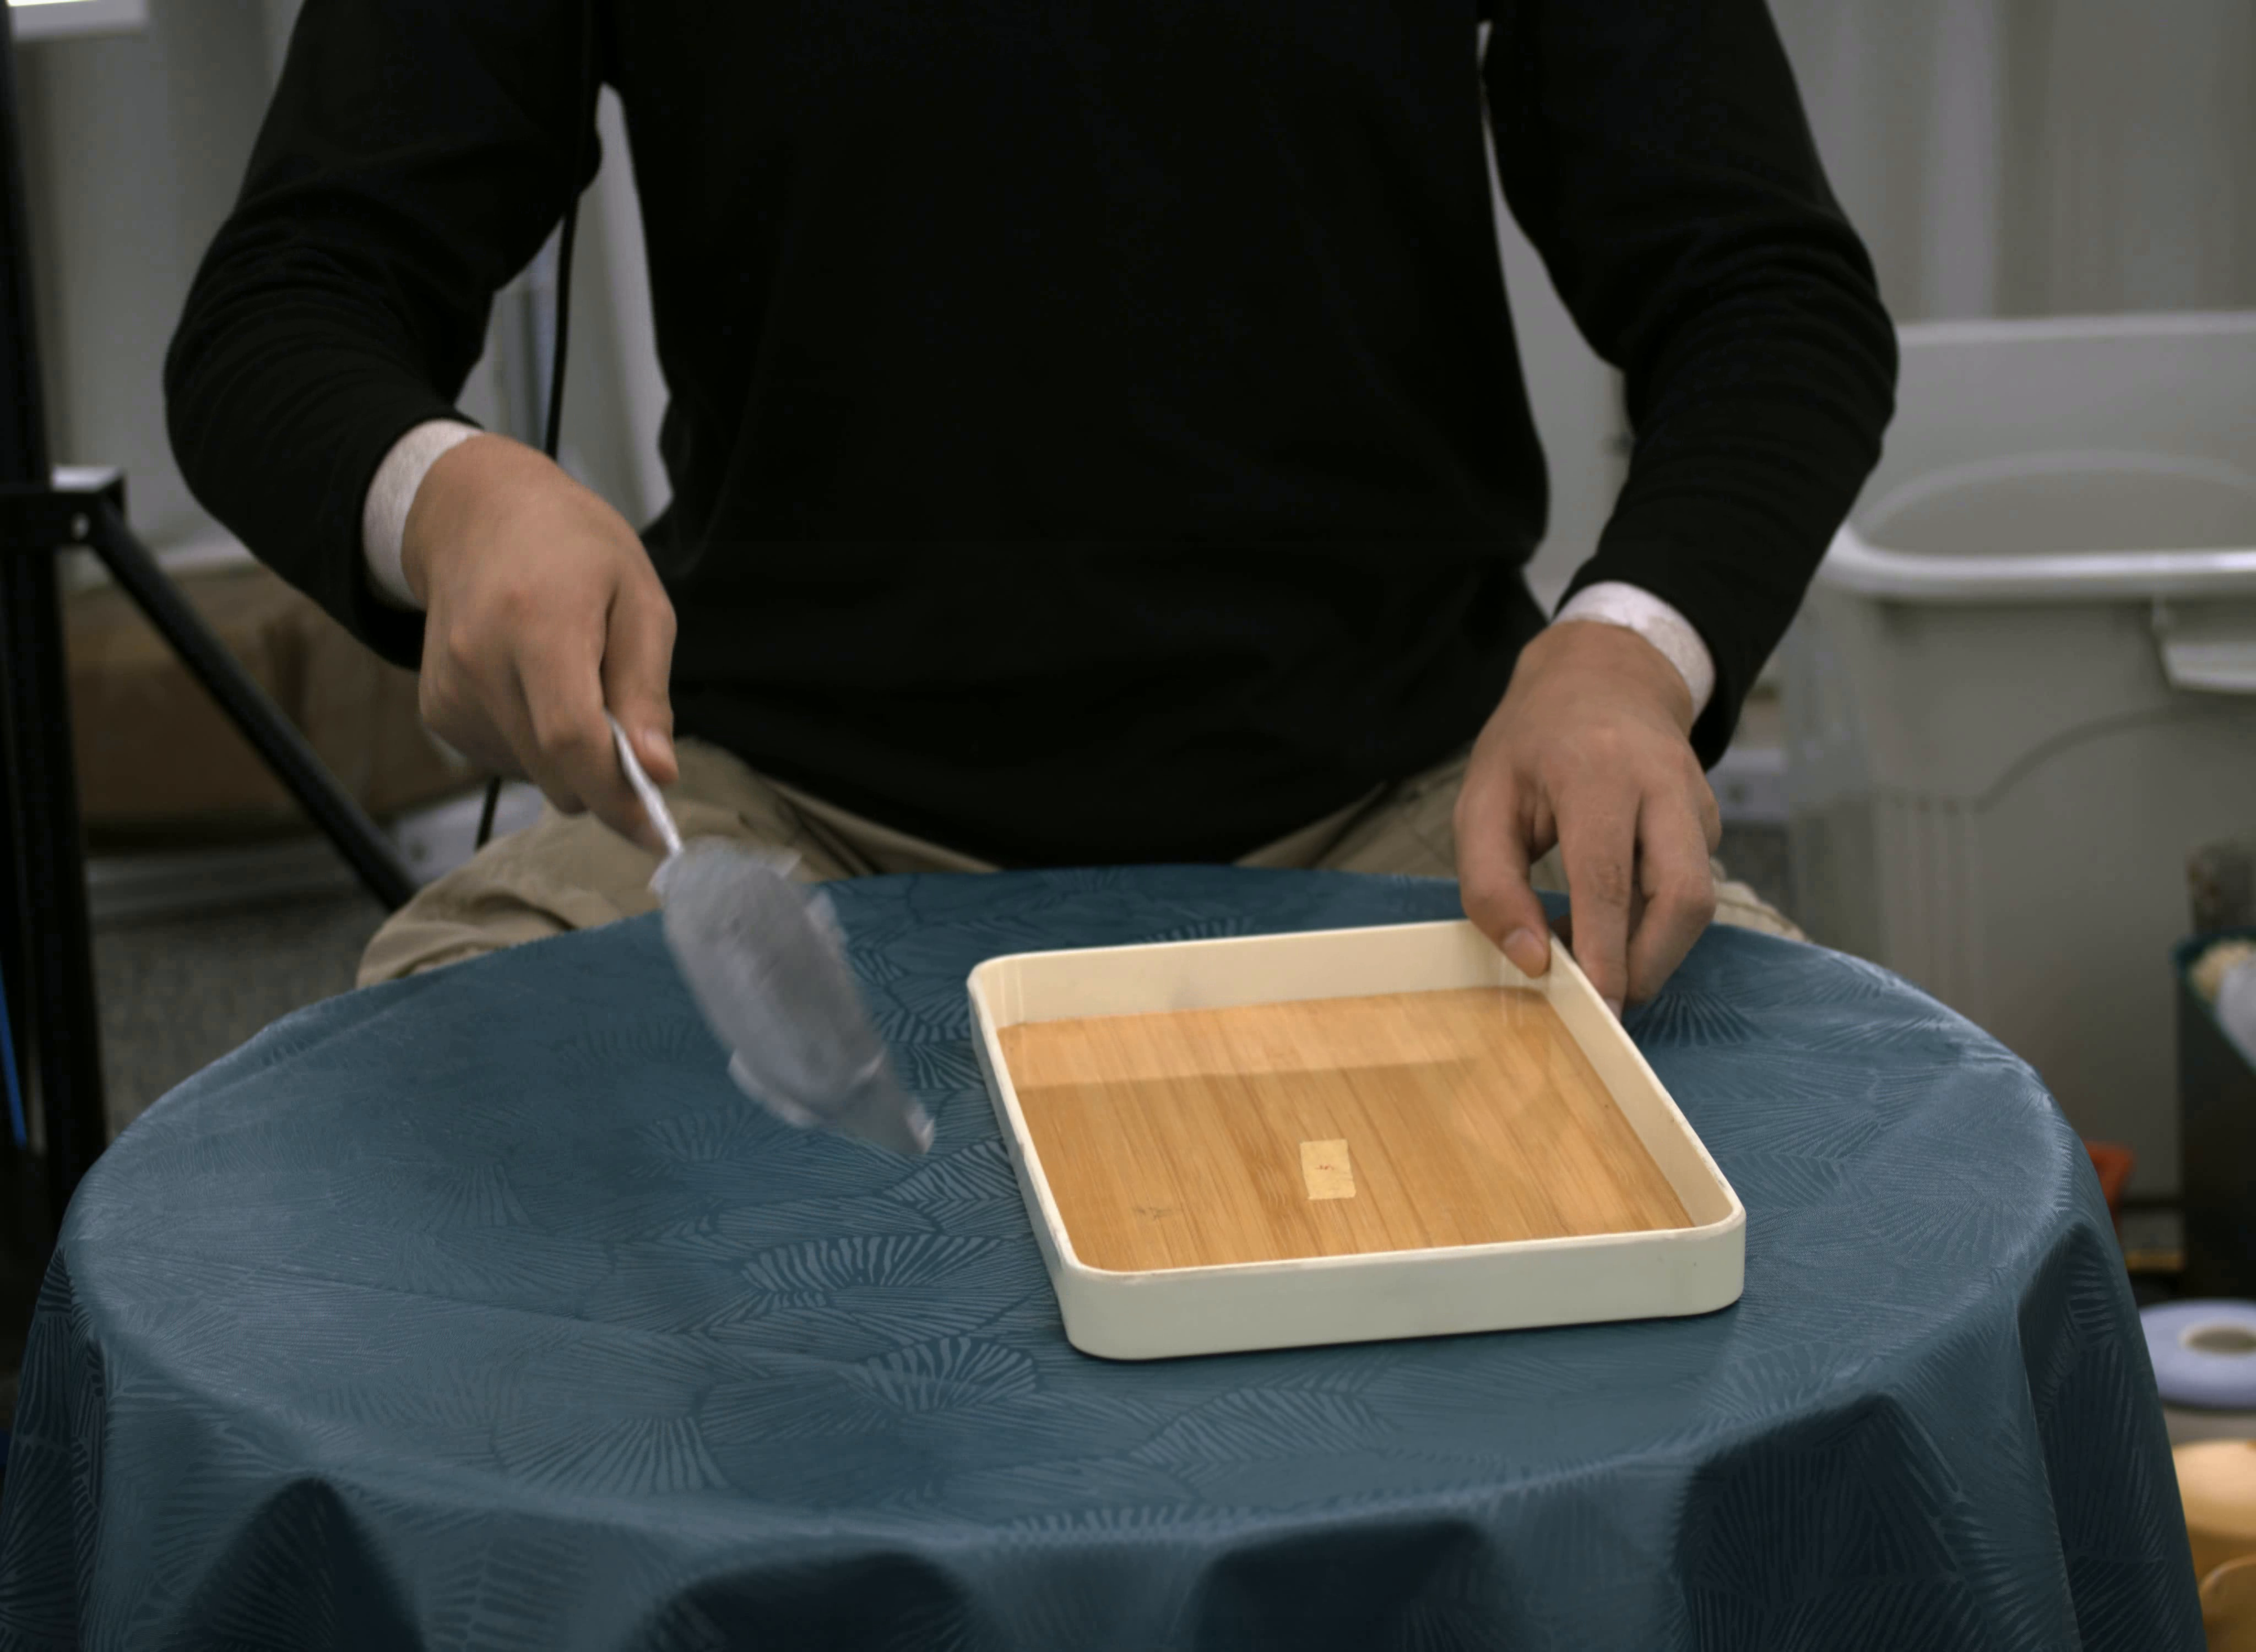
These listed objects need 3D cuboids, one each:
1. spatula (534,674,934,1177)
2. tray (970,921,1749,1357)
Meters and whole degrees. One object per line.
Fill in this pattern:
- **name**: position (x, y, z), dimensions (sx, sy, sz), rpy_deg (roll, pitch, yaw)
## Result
- **spatula**: position (-0.128, 0.007, 1.544), dimensions (0.044, 0.097, 0.370), rpy_deg (-28, 24, -4)
- **tray**: position (0.060, 0.088, 1.568), dimensions (0.190, 0.027, 0.303), rpy_deg (-4, 16, -5)
